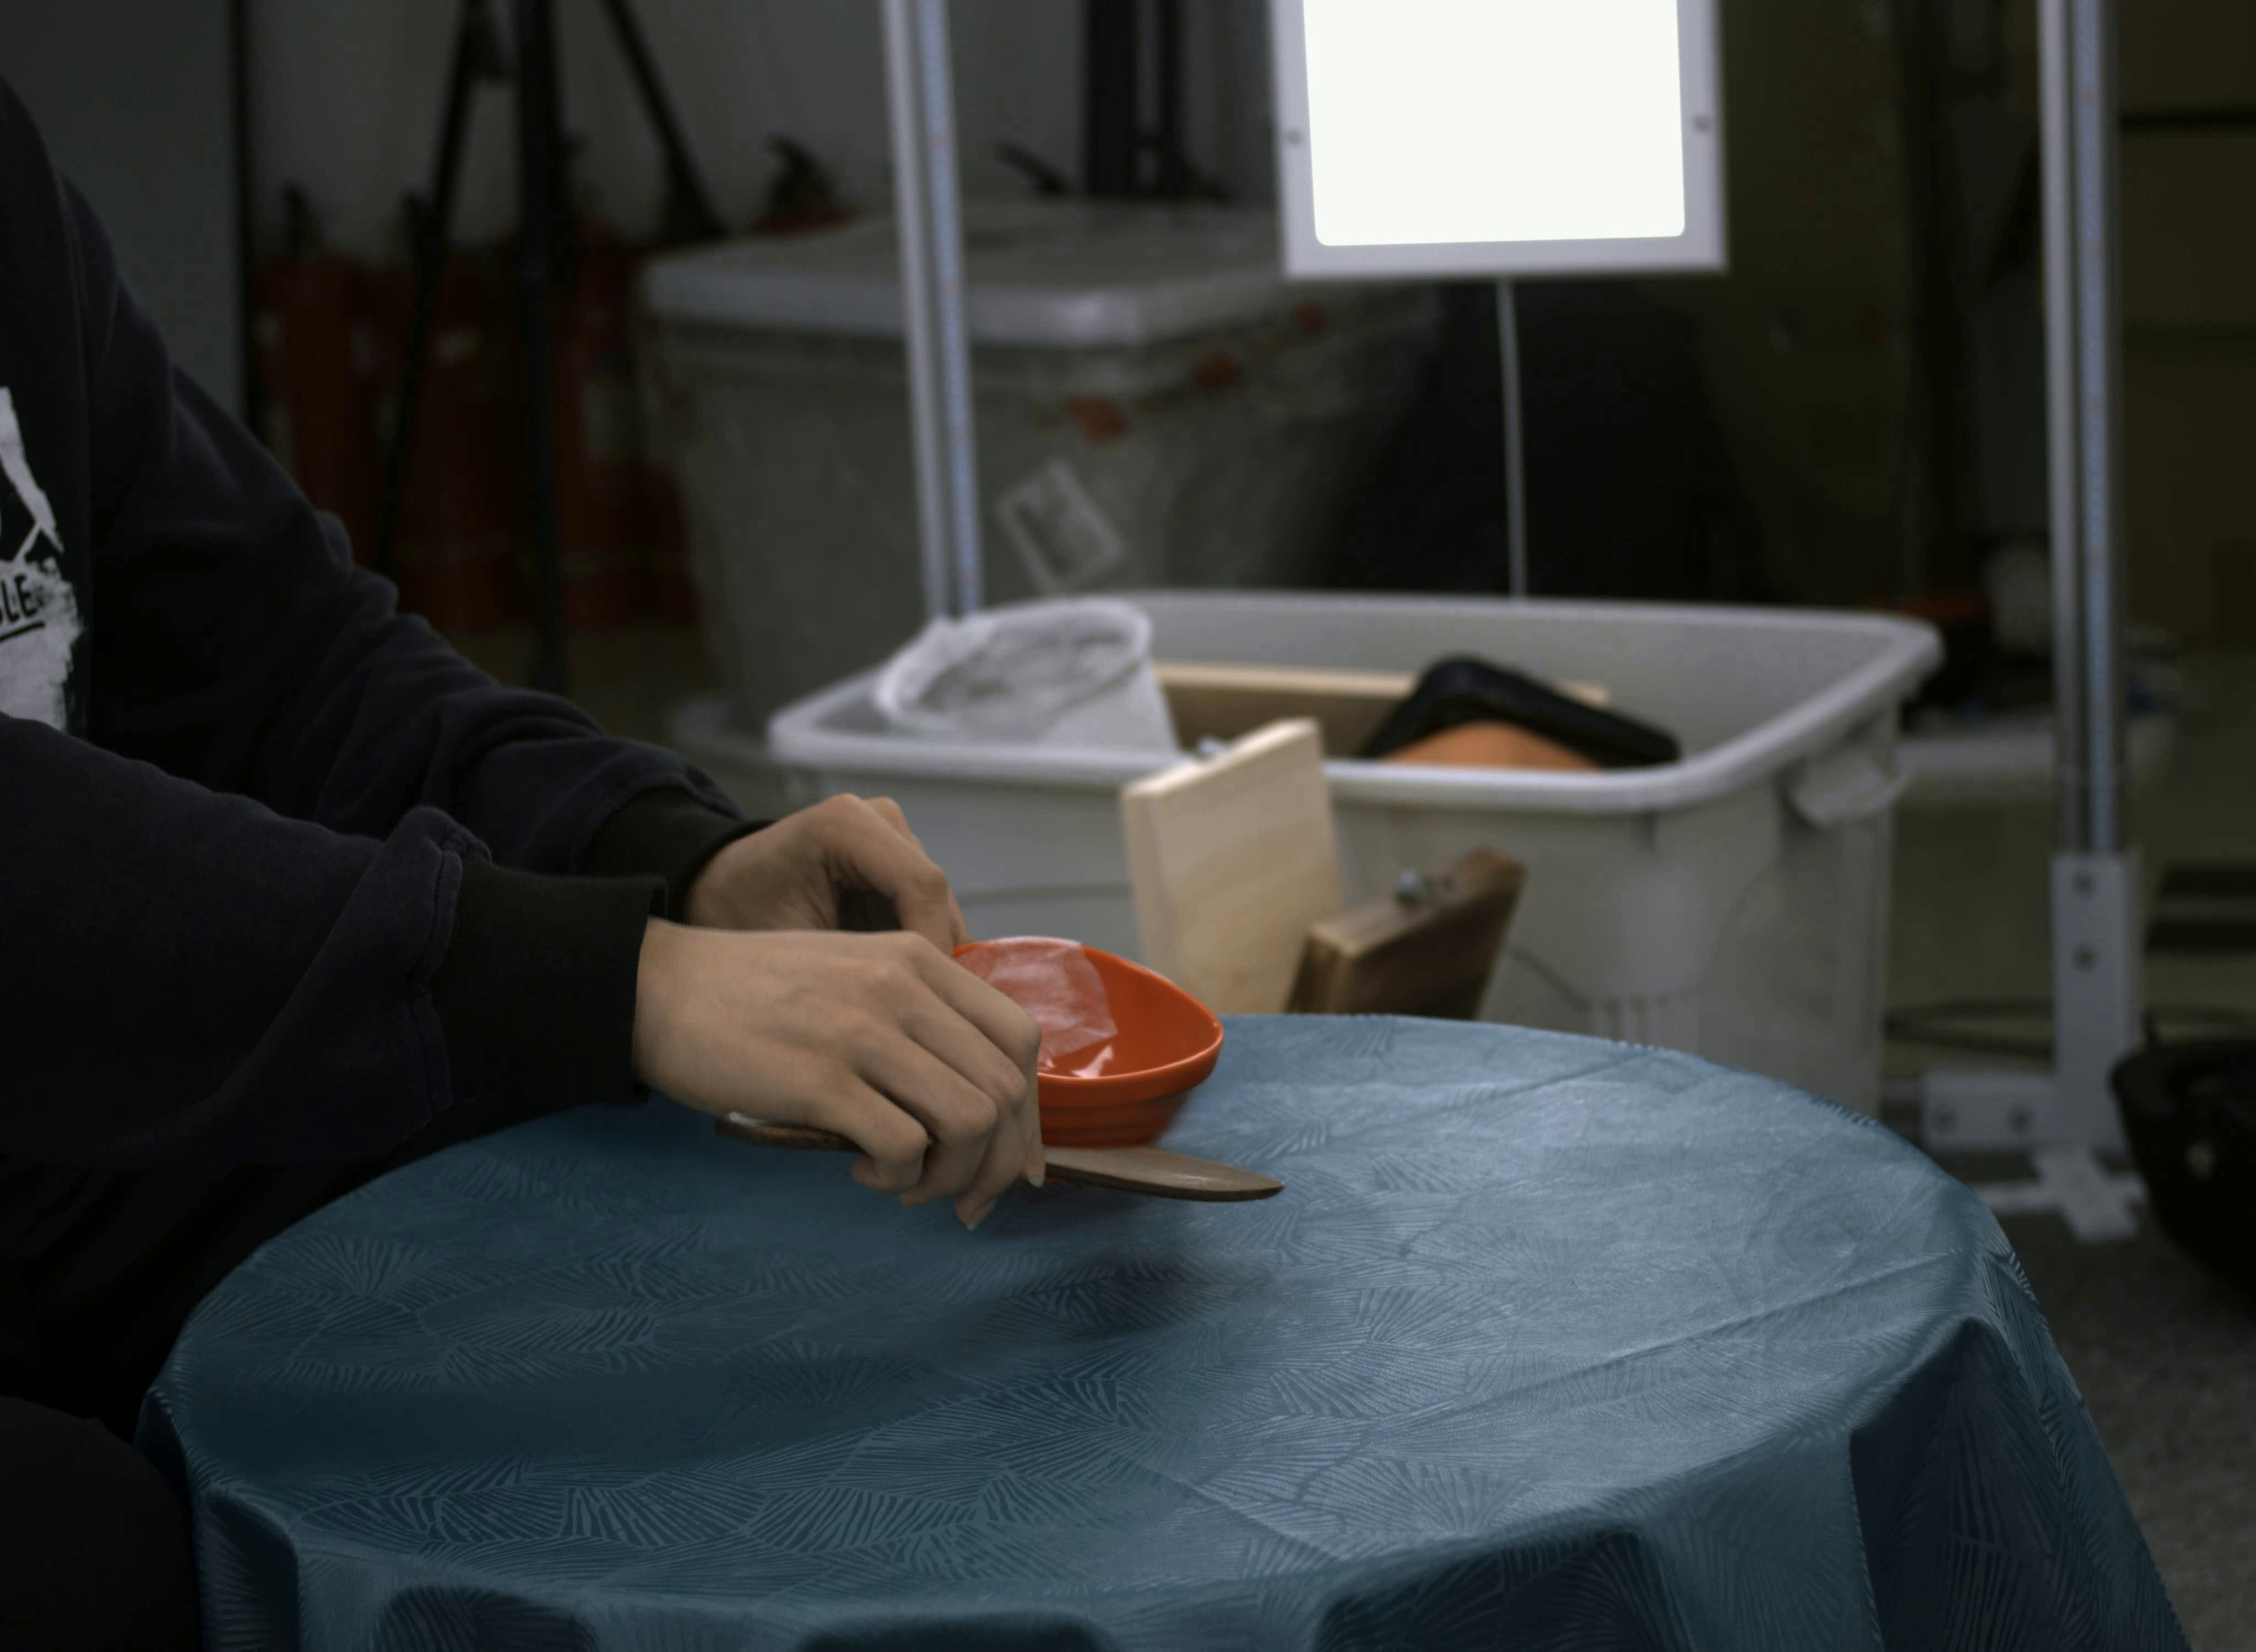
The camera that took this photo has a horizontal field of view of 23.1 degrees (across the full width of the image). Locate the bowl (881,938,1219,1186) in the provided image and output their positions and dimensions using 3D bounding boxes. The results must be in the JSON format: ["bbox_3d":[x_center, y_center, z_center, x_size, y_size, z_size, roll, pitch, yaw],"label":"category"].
[{"bbox_3d":[-0.030,0.086,1.916,0.118,0.052,0.118,8,23,-5],"label":"bowl"}]

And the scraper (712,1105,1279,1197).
[{"bbox_3d":[-0.046,0.102,1.744,0.206,0.011,0.077,10,2,-42],"label":"scraper"}]
